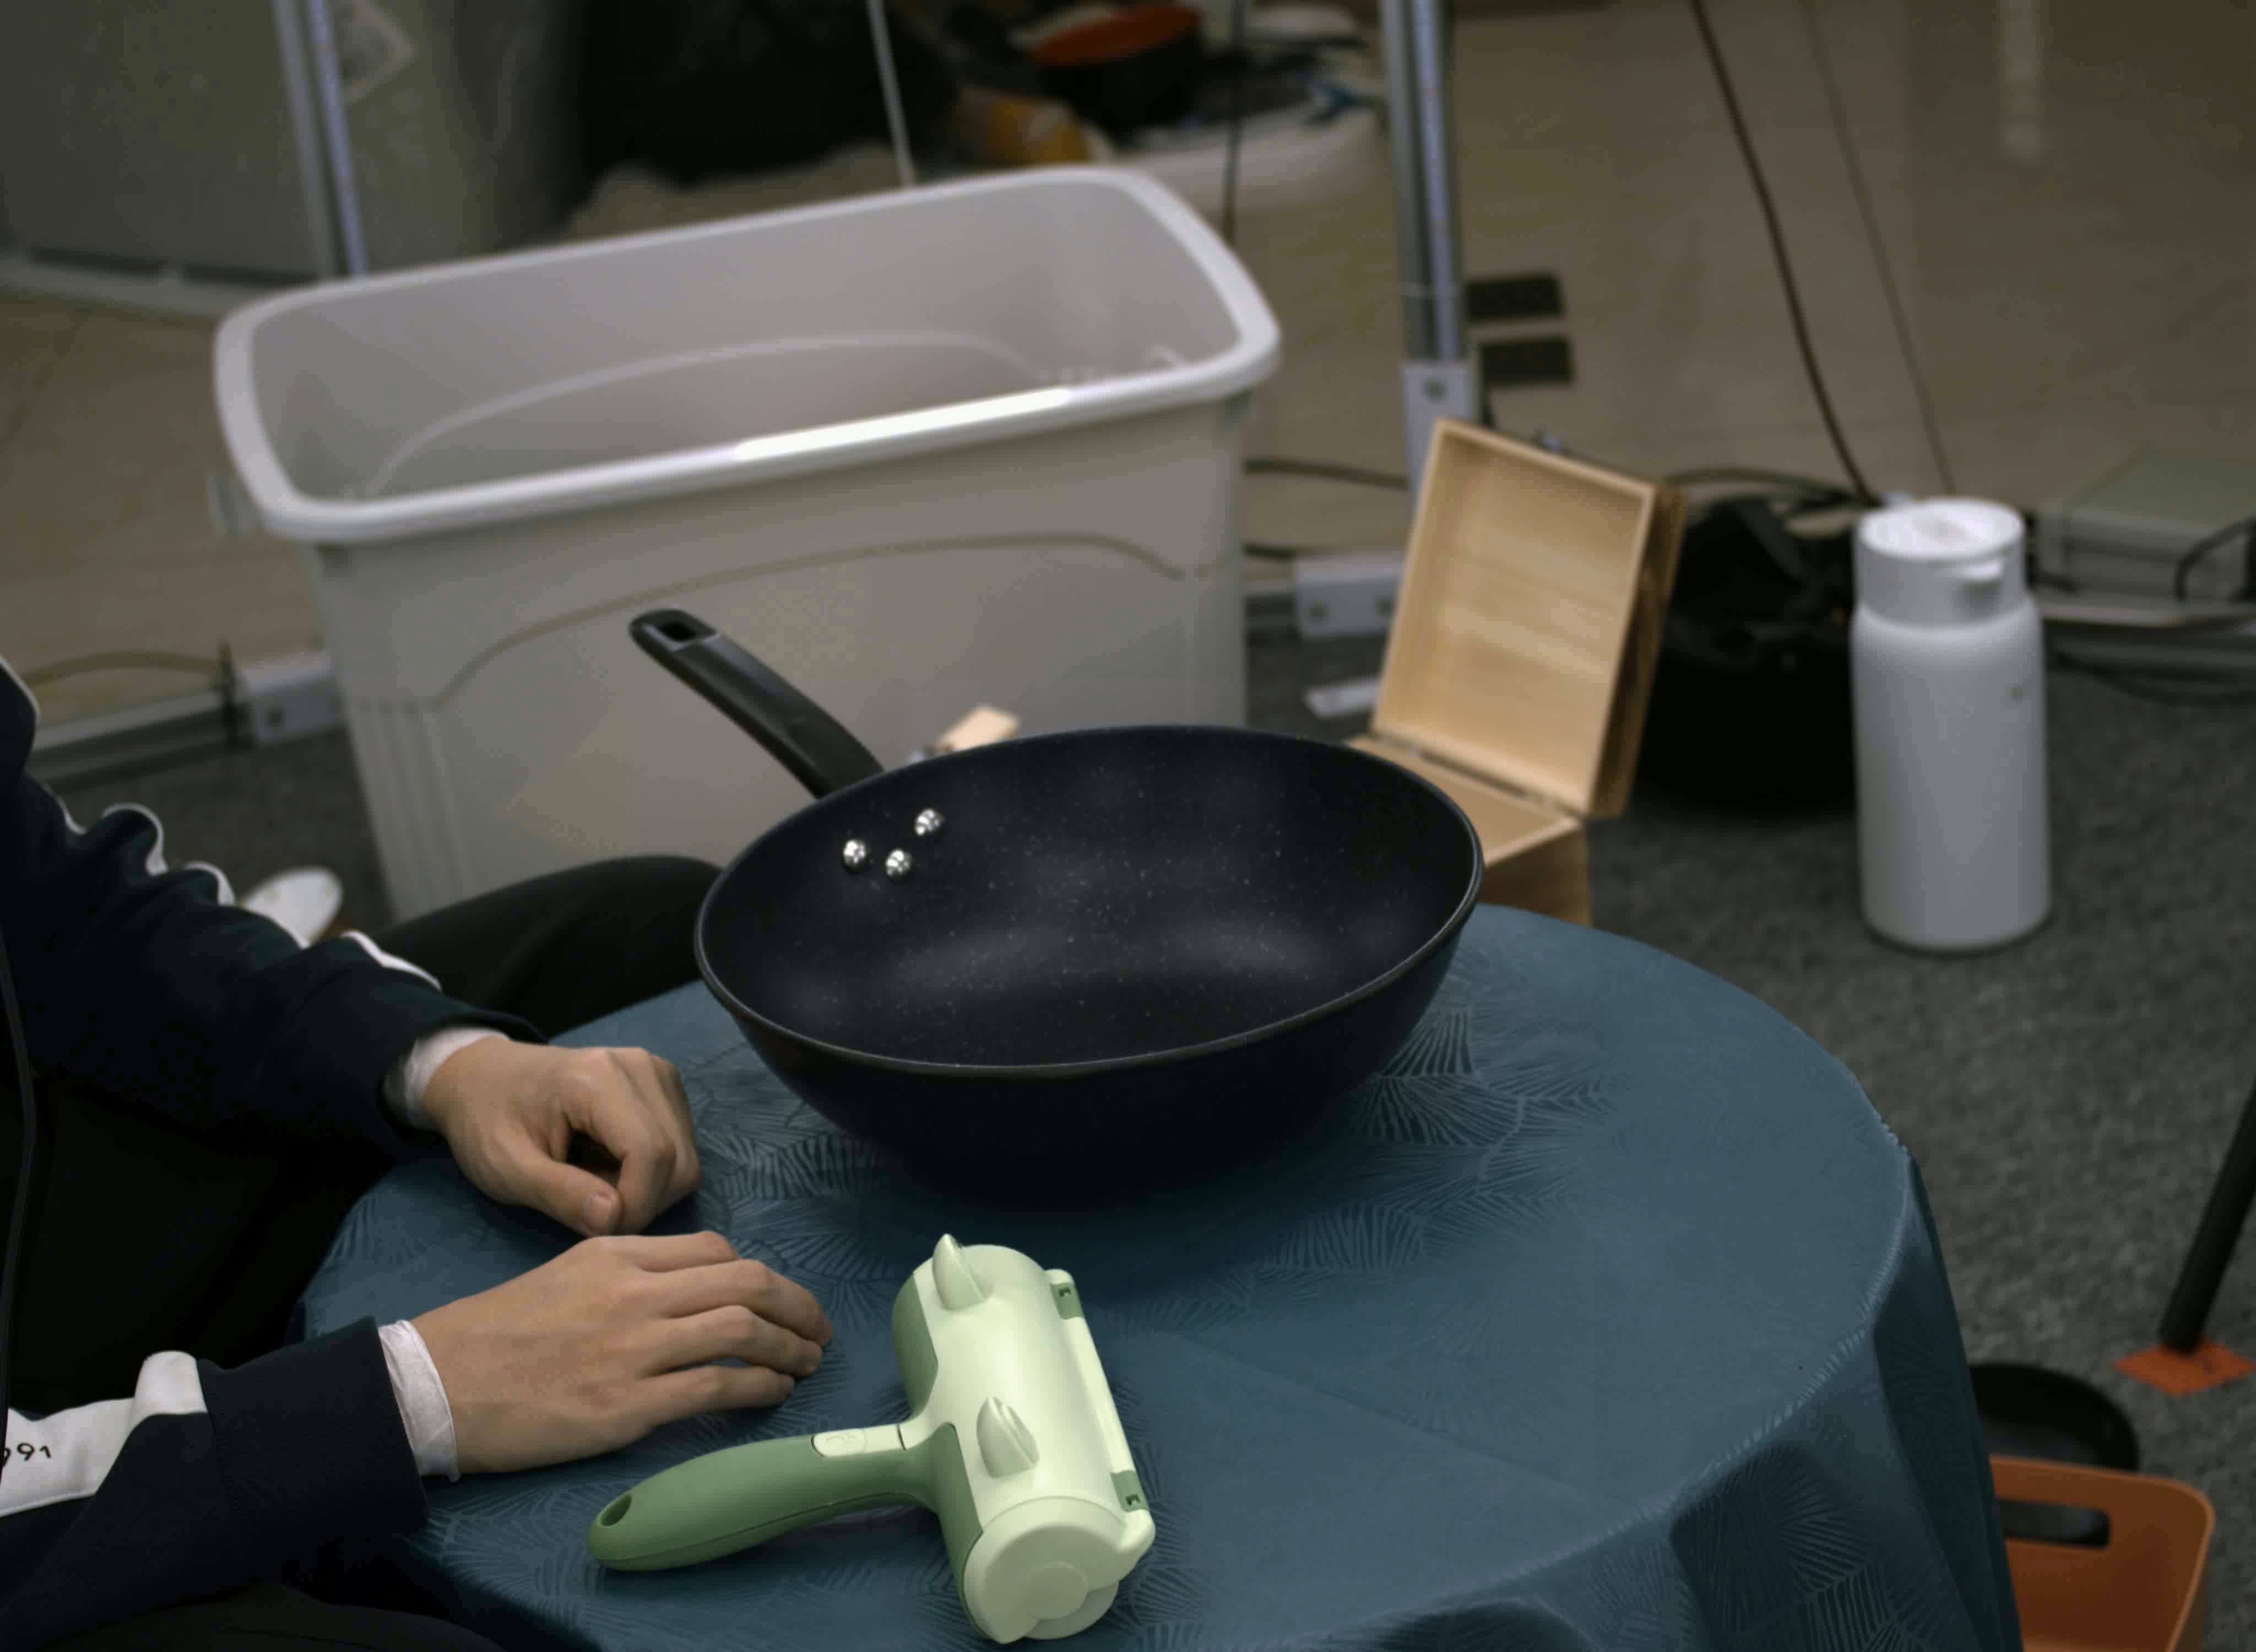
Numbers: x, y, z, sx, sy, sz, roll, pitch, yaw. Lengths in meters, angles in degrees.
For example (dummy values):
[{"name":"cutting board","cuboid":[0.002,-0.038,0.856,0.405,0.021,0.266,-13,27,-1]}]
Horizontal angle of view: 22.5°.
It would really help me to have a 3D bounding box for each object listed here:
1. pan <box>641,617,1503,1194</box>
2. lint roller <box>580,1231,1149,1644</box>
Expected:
[{"name":"pan","cuboid":[-0.057,0.030,2.264,0.308,0.113,0.472,-21,29,-31]},{"name":"lint roller","cuboid":[-0.097,0.206,1.934,0.183,0.083,0.196,-4,25,-8]}]
